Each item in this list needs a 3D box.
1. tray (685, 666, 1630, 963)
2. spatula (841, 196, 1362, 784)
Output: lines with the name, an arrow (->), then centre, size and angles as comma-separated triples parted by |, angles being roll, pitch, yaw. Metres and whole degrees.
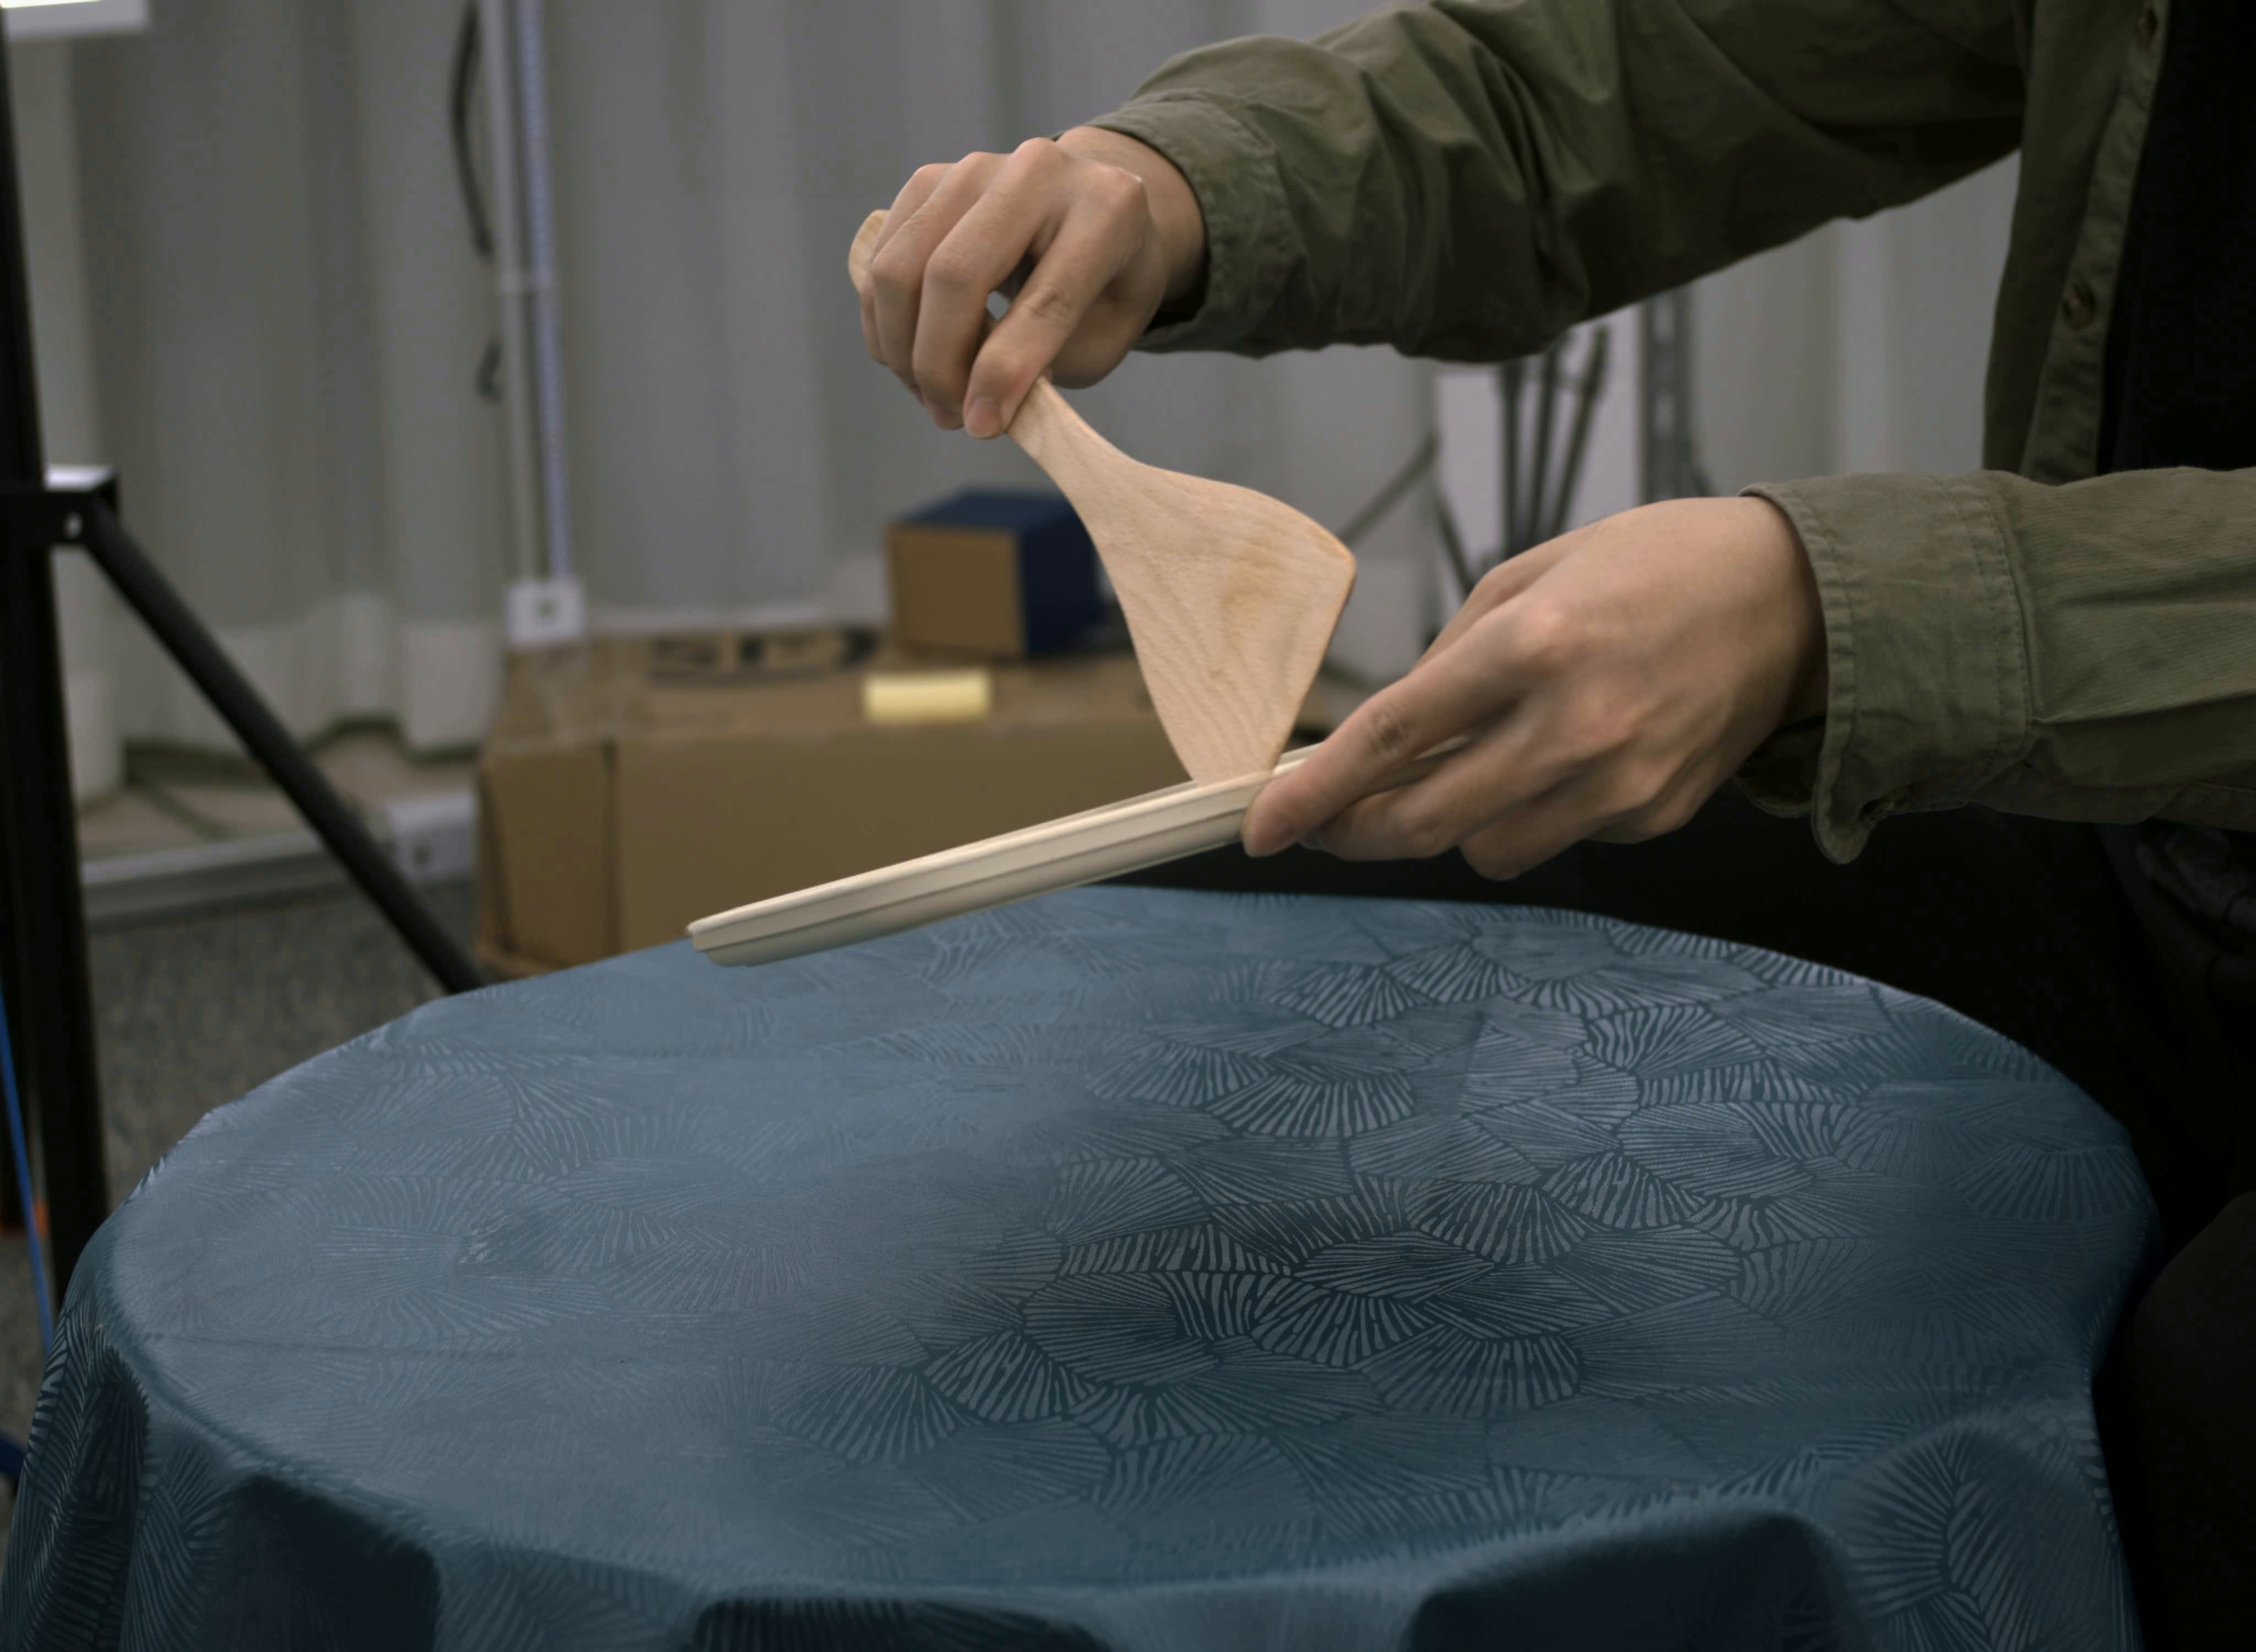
tray -> 0.009, -0.001, 1.450 | 0.235, 0.017, 0.174 | -16, 1, -25
spatula -> -0.017, -0.113, 1.538 | 0.016, 0.080, 0.335 | 17, 19, -35
